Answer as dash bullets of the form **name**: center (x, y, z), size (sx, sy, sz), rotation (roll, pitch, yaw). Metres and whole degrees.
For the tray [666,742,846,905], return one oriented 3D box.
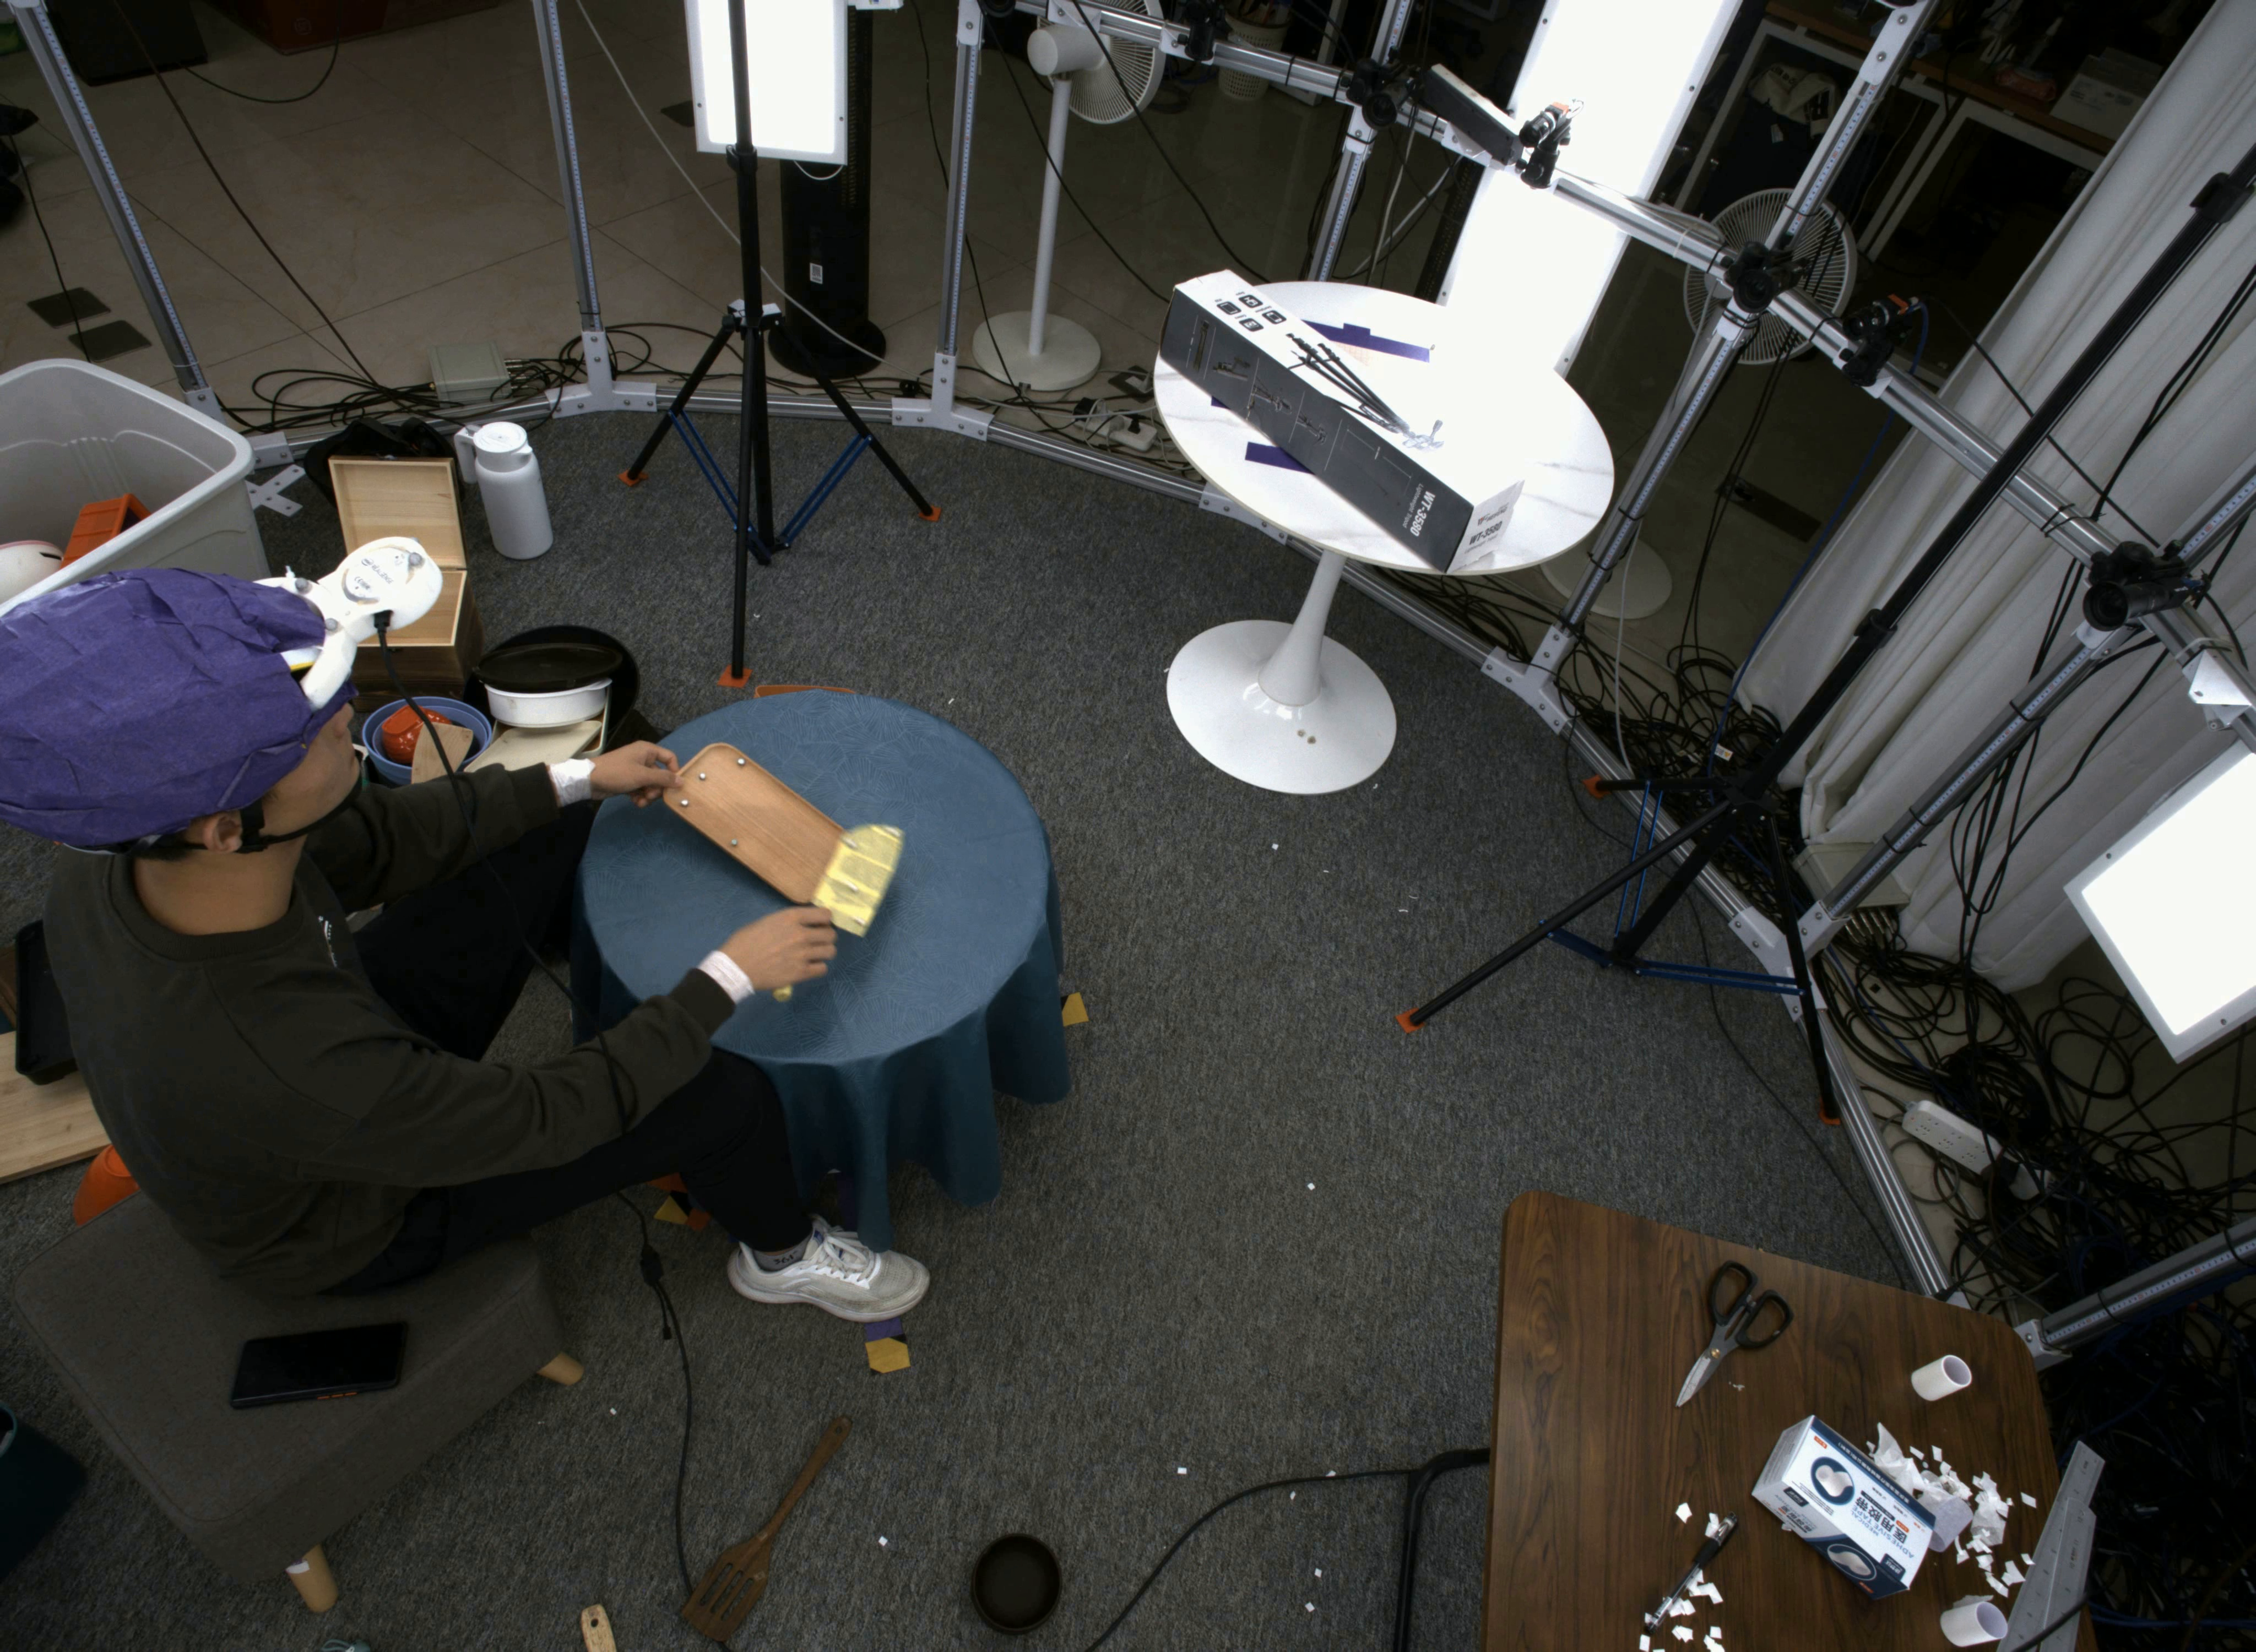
- **tray**: center (-0.473, -0.005, 1.684), size (0.251, 0.023, 0.130), rotation (37, 56, -3)

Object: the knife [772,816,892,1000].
- **knife**: center (-0.358, 0.093, 1.584), size (0.081, 0.027, 0.286), rotation (28, 52, -10)
